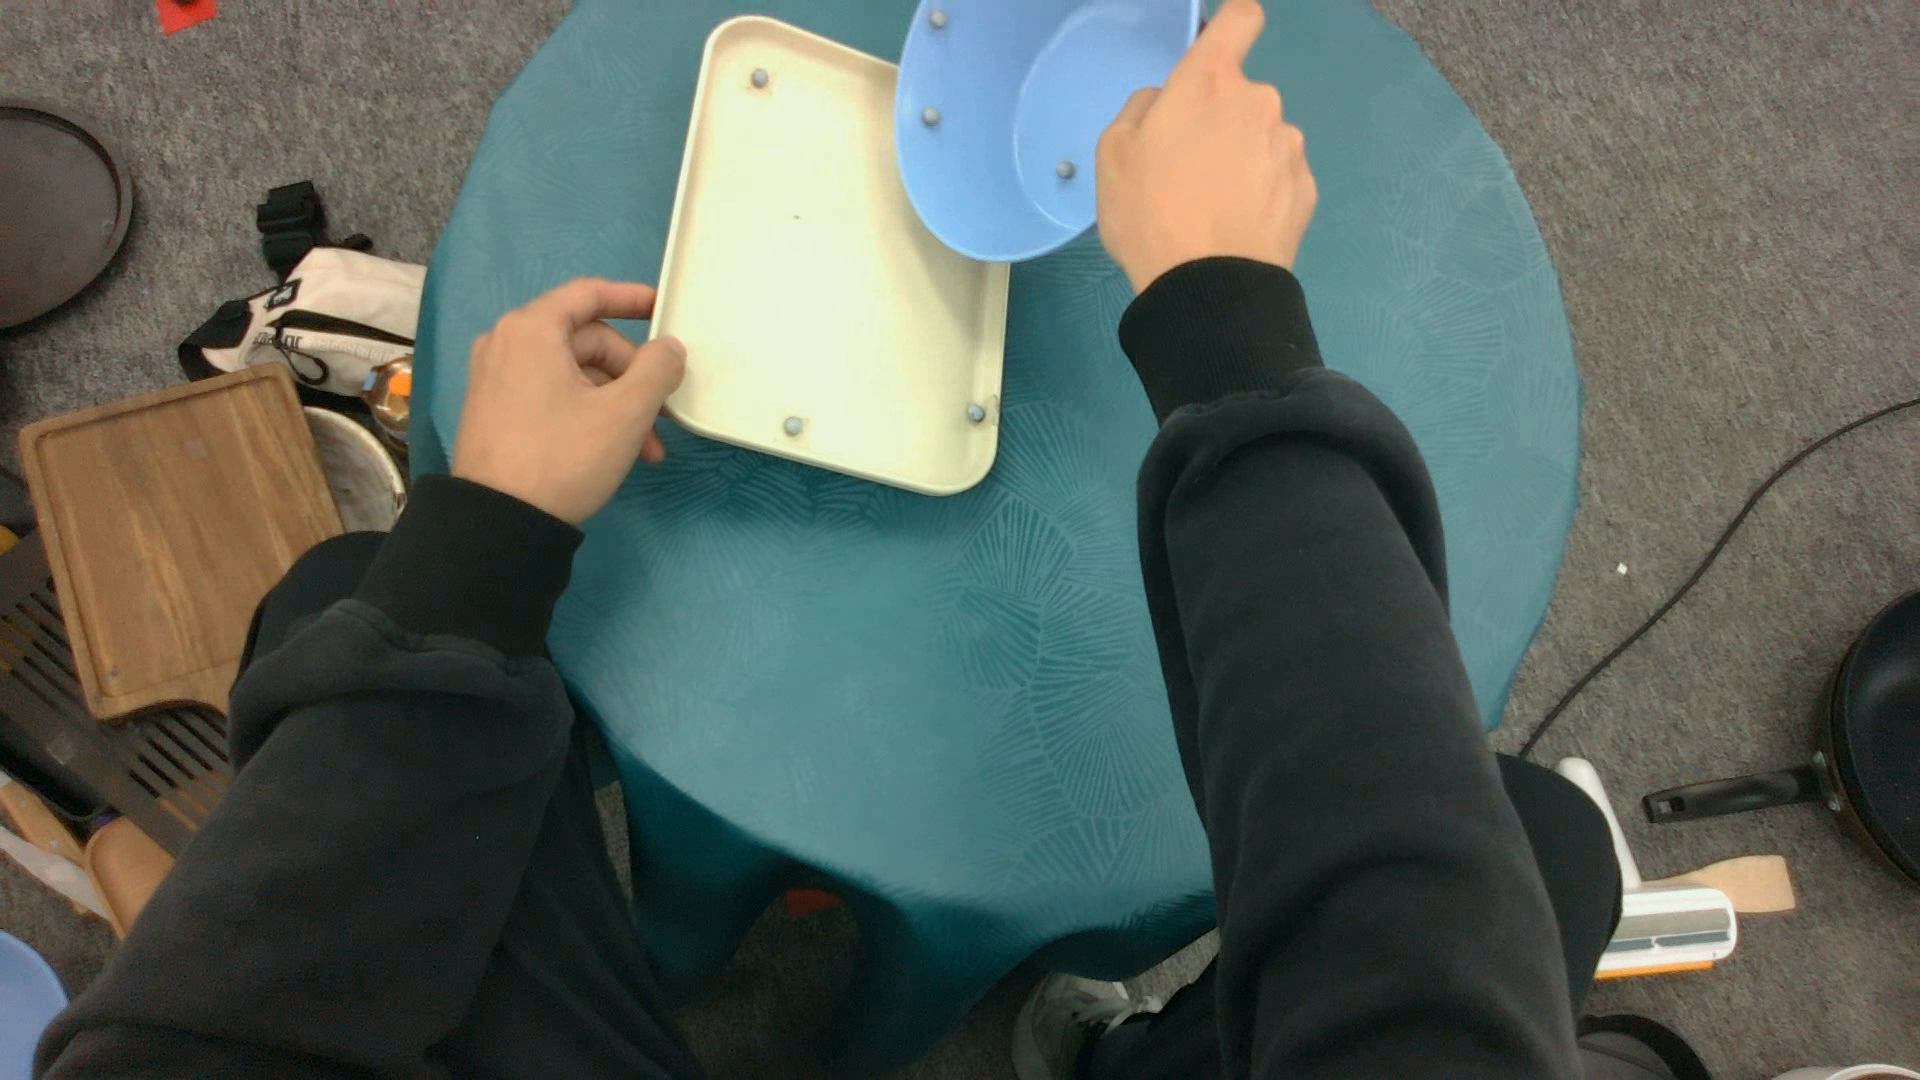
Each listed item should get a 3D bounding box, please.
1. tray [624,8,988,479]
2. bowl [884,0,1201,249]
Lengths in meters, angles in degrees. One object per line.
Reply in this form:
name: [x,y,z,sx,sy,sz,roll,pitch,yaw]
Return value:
tray: [-0.067,-0.147,0.675,0.171,0.017,0.240,13,63,-19]
bowl: [0.047,-0.217,0.655,0.070,0.175,0.176,9,63,-48]
